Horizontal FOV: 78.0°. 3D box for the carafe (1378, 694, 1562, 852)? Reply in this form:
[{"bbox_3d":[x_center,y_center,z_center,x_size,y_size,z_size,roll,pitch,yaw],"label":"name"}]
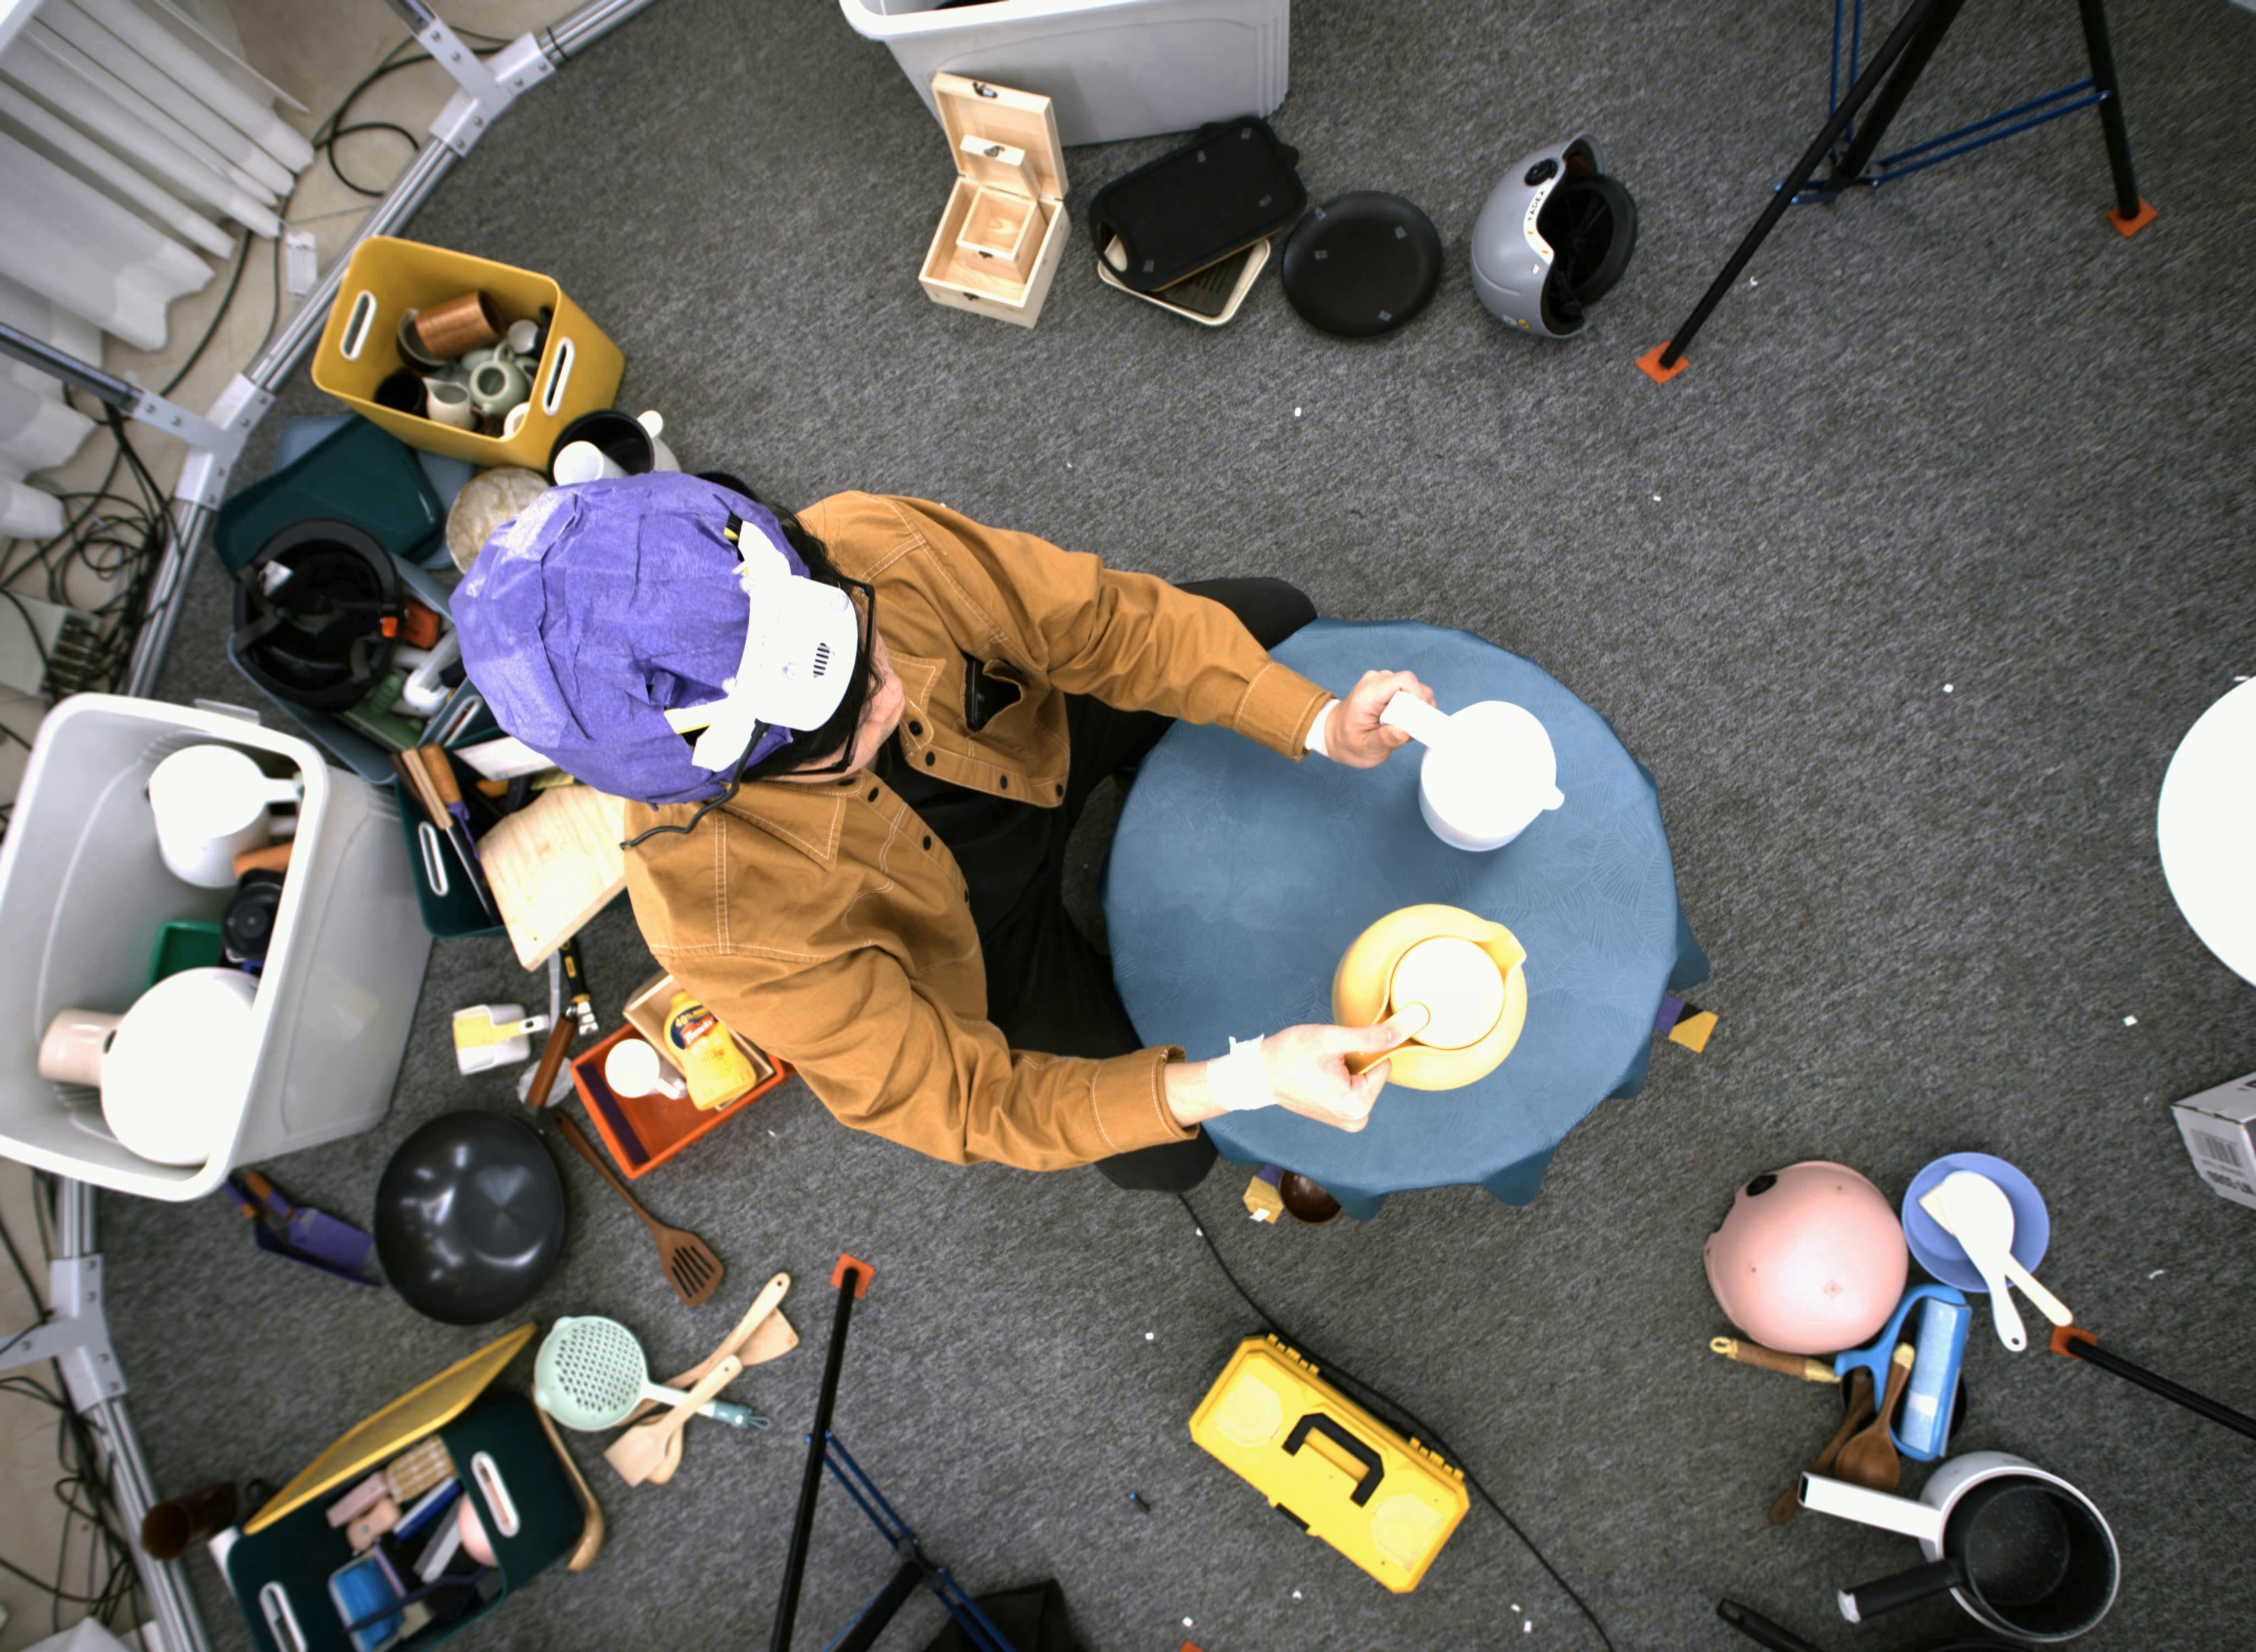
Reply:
[{"bbox_3d":[0.313,-0.052,1.277,0.172,0.268,0.124,32,95,12],"label":"carafe"}]

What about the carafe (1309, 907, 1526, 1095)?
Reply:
[{"bbox_3d":[0.245,0.160,1.207,0.202,0.262,0.162,-33,77,-1],"label":"carafe"}]
